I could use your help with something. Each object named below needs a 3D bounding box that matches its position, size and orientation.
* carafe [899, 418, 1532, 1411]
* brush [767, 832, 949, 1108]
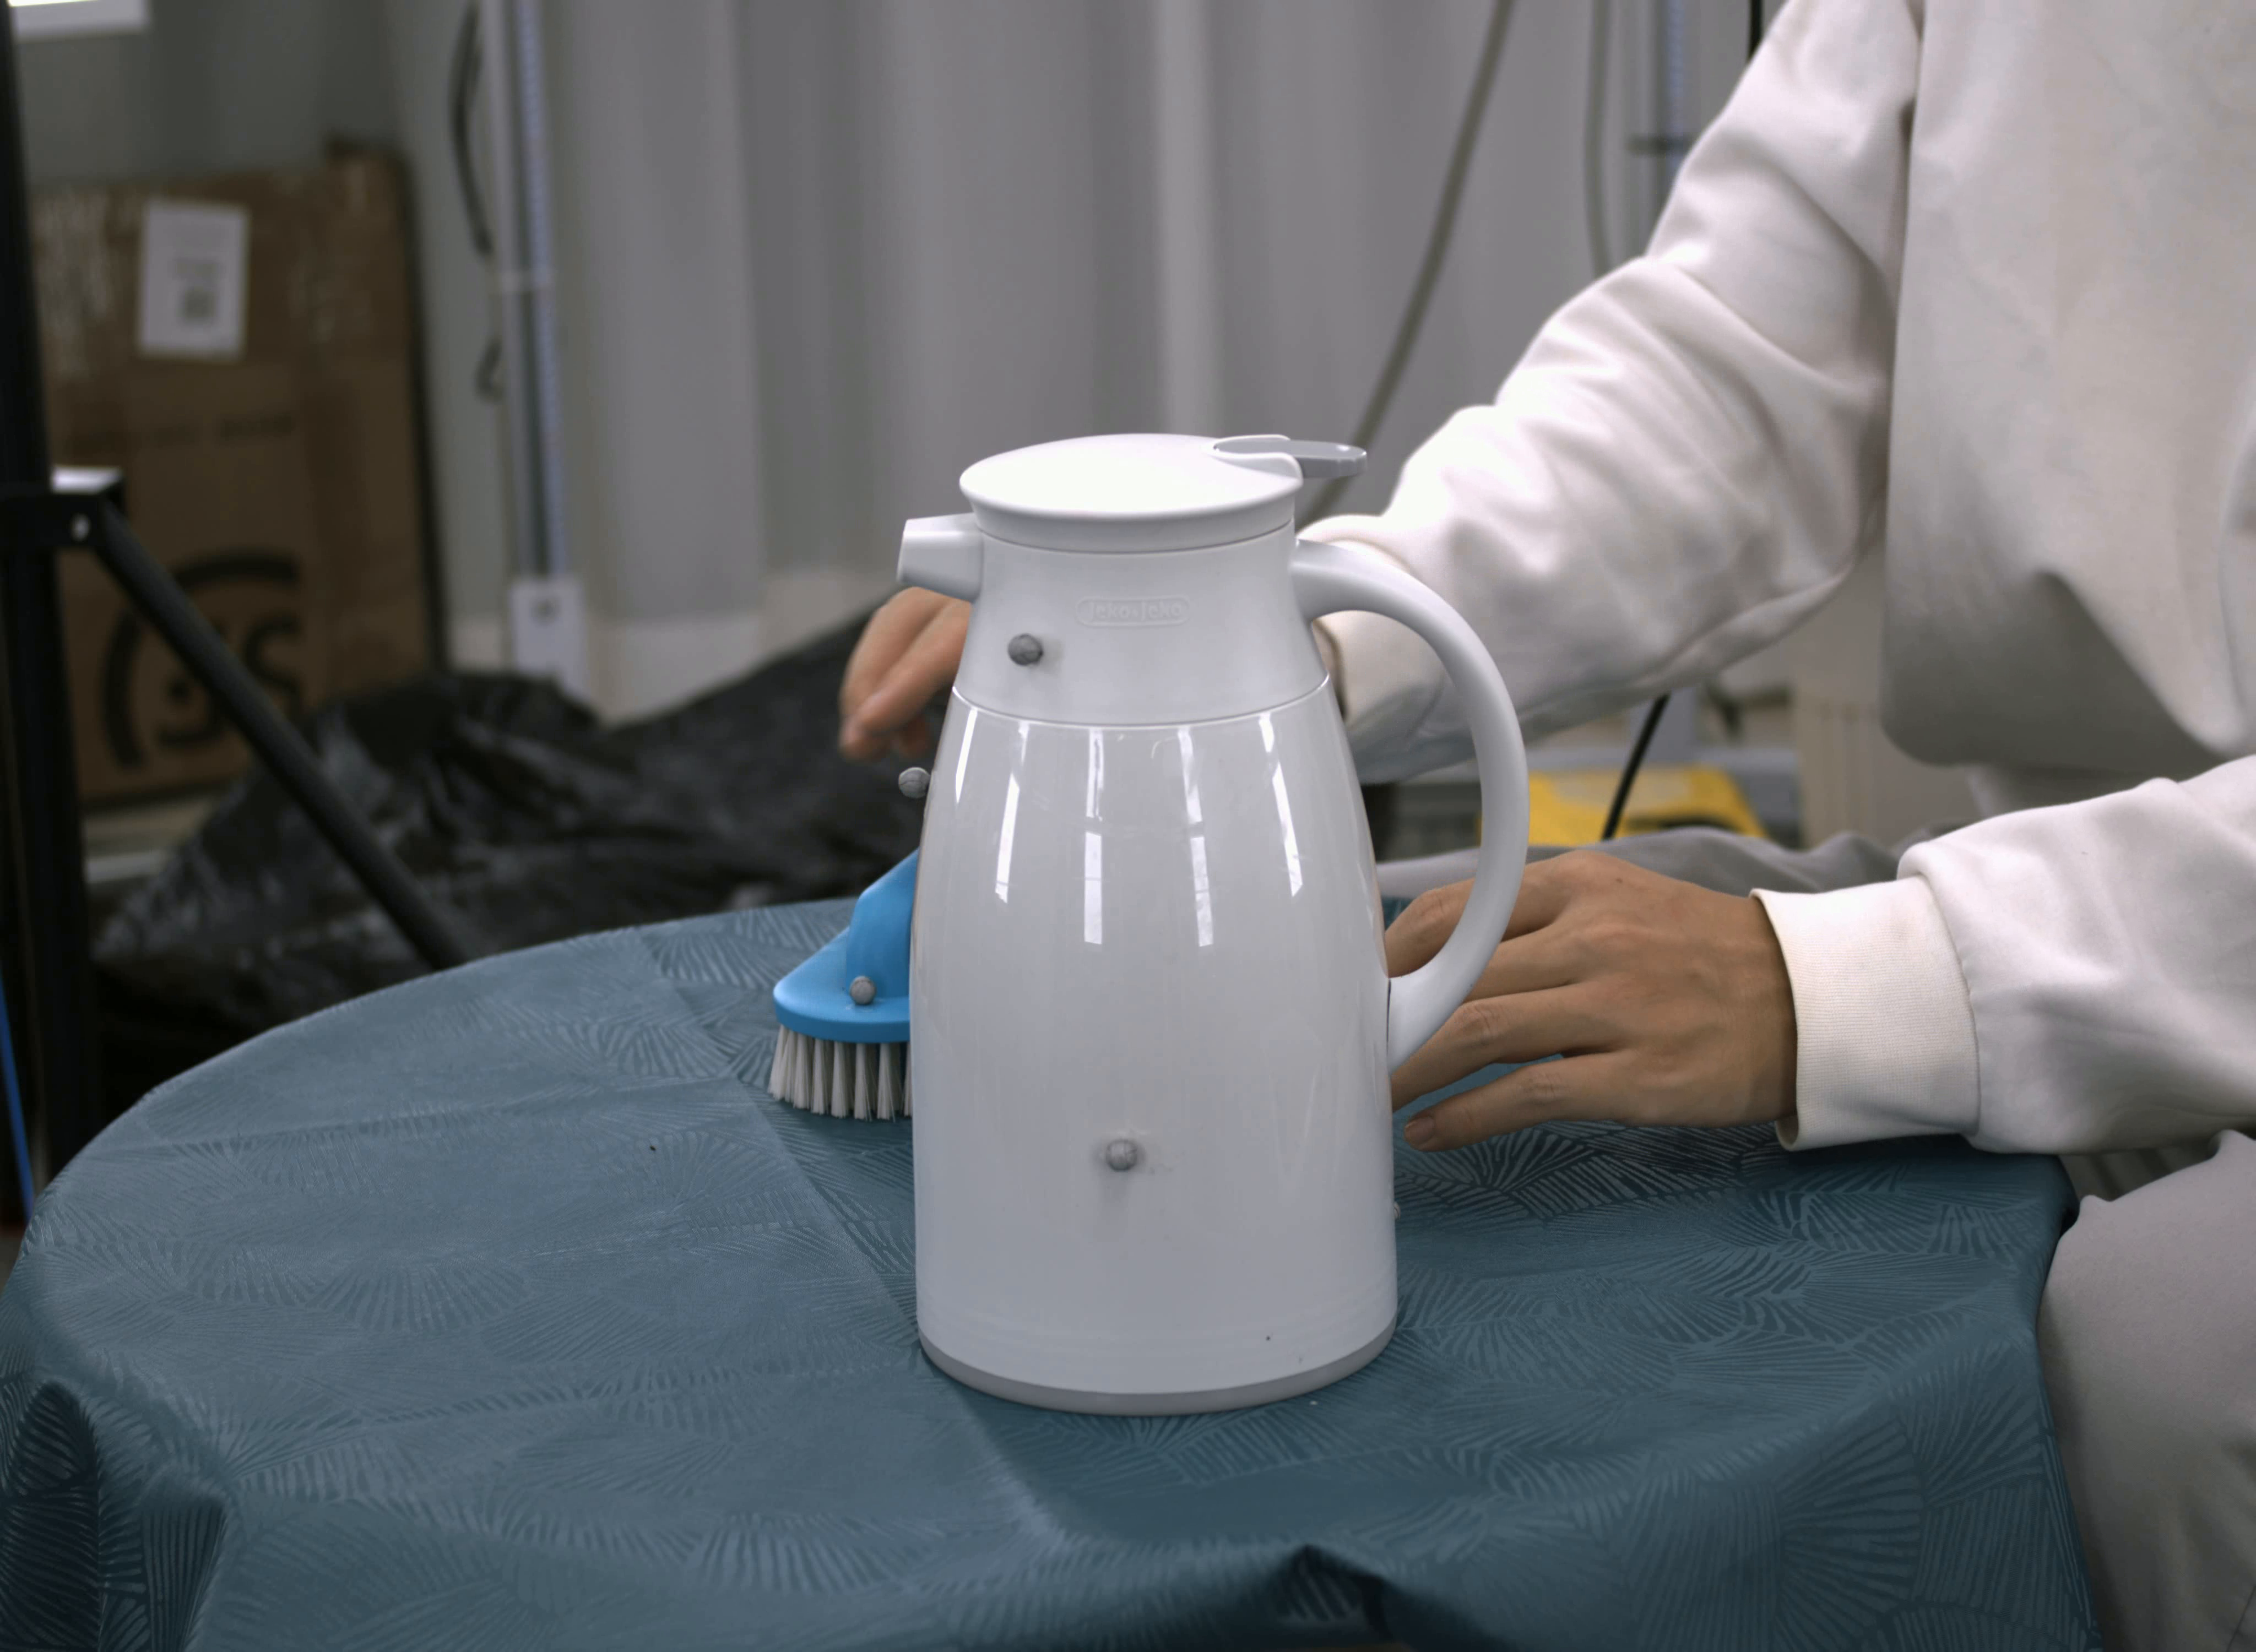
[{"bbox_3d":[0.024,0.016,1.422,0.167,0.248,0.133,-1,15,2],"label":"carafe"},{"bbox_3d":[-0.063,0.040,1.689,0.085,0.064,0.140,-1,15,22],"label":"brush"}]
